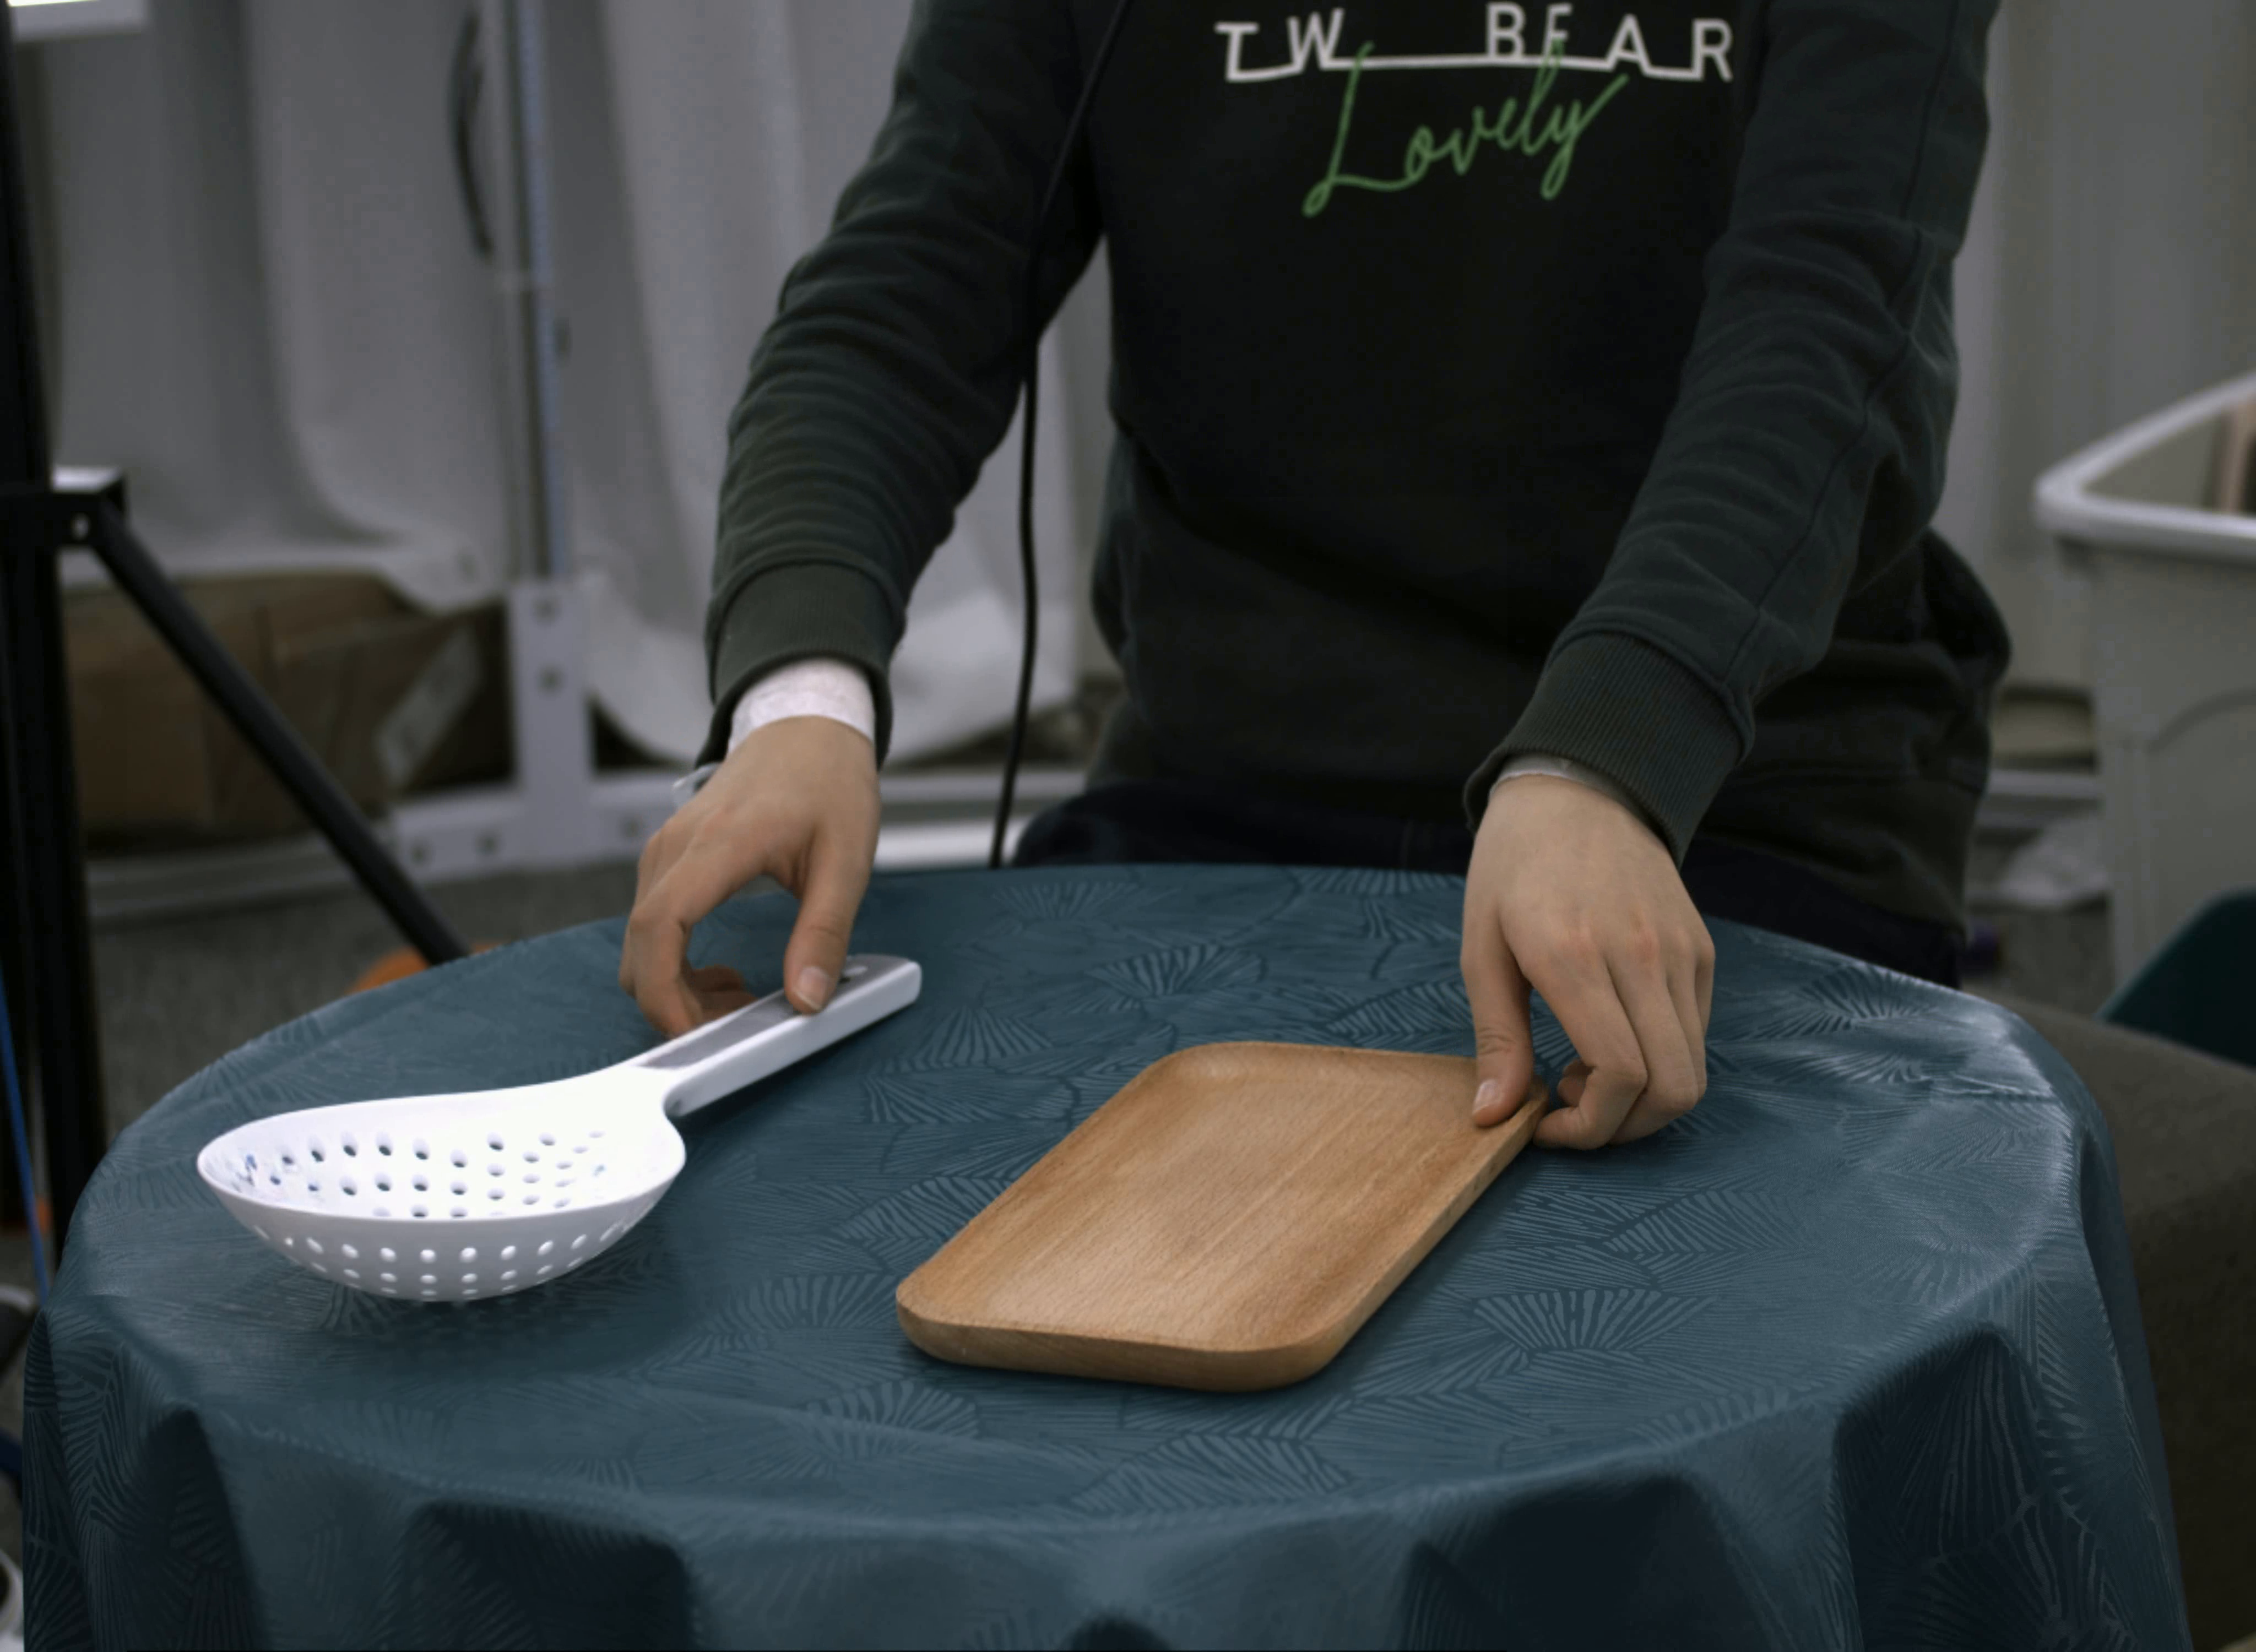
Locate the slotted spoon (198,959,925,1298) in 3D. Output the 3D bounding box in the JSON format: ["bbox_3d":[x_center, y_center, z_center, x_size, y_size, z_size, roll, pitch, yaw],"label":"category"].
[{"bbox_3d":[-0.149,0.081,1.595,0.138,0.046,0.344,7,17,24],"label":"slotted spoon"}]

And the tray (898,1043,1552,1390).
[{"bbox_3d":[0.032,0.109,1.519,0.132,0.023,0.247,6,17,21],"label":"tray"}]
